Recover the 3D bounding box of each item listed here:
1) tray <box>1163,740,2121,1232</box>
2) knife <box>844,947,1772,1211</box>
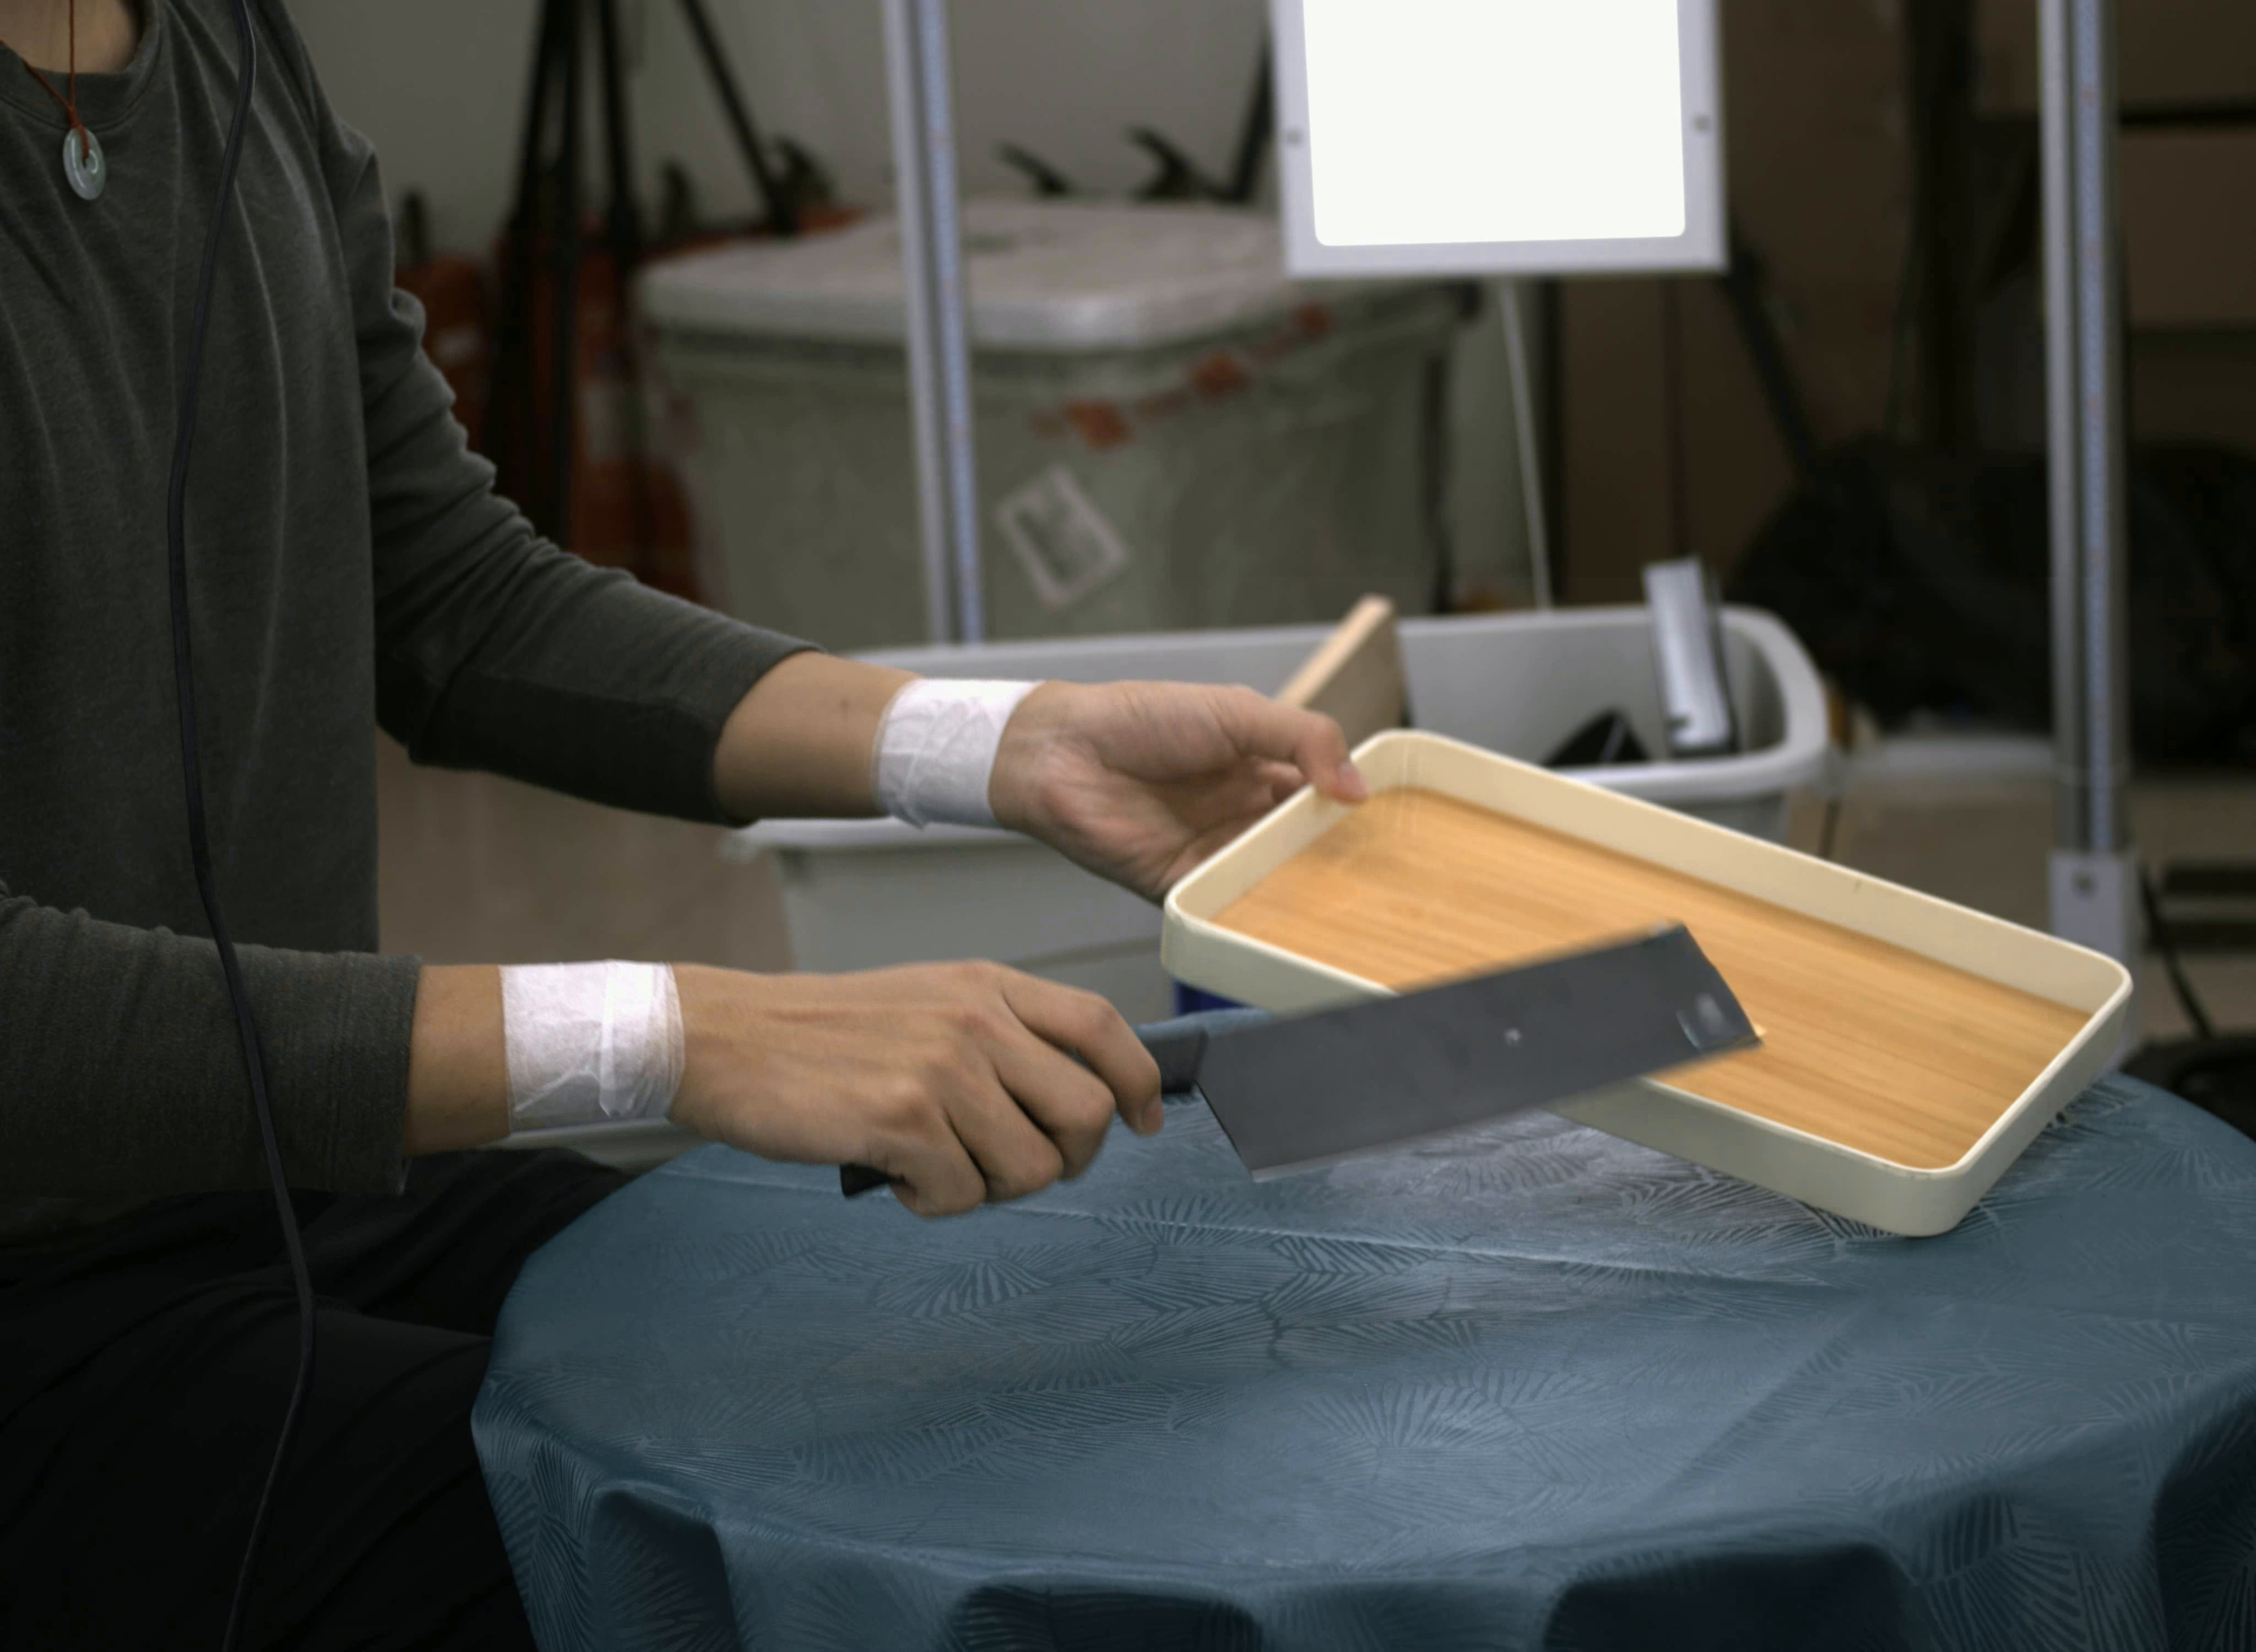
[{"bbox_3d":[0.181,0.051,1.904,0.305,0.027,0.187,18,30,26],"label":"tray"},{"bbox_3d":[0.056,0.085,1.727,0.299,0.021,0.081,-9,39,-11],"label":"knife"}]
